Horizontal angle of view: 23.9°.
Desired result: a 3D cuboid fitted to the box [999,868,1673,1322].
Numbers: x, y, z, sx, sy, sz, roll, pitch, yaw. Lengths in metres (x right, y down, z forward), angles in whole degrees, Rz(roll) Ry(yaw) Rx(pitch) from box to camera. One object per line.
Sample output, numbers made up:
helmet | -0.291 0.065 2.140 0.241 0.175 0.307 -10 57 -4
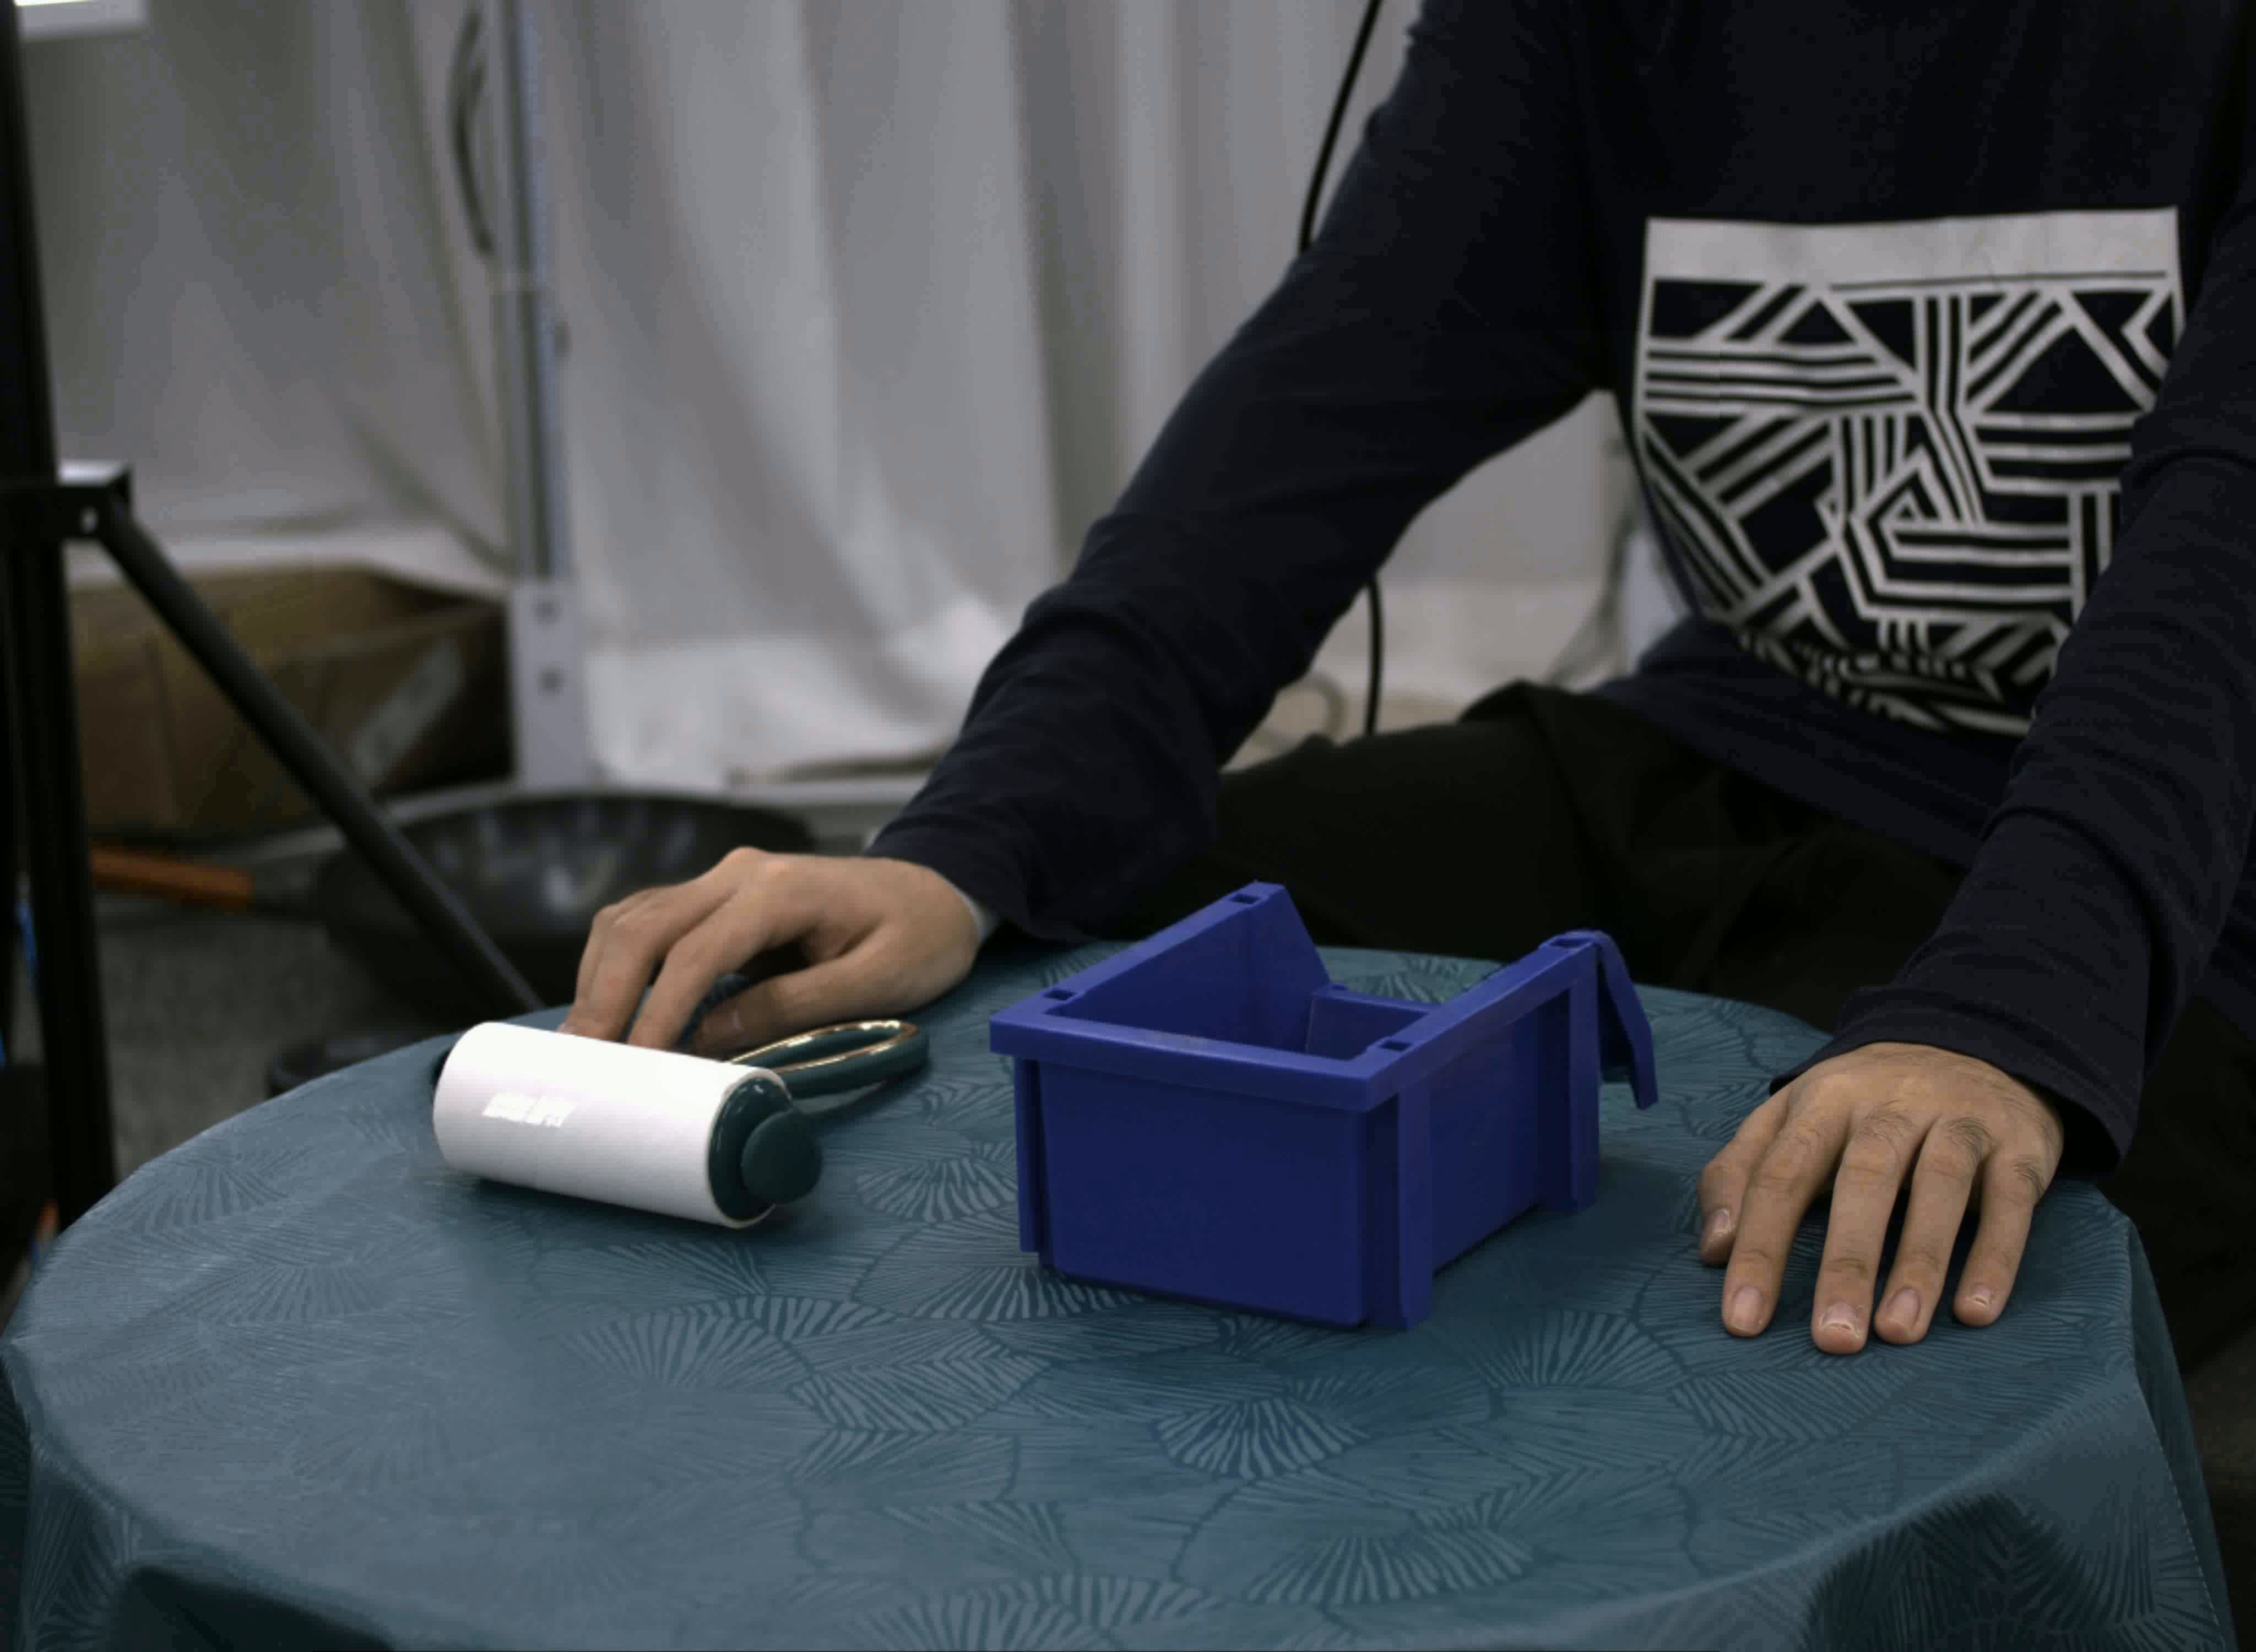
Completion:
box | 0.062 0.073 1.528 0.127 0.082 0.176 7 21 33

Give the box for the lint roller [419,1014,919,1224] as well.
lint roller | -0.117 0.074 1.626 0.137 0.048 0.176 8 16 31
